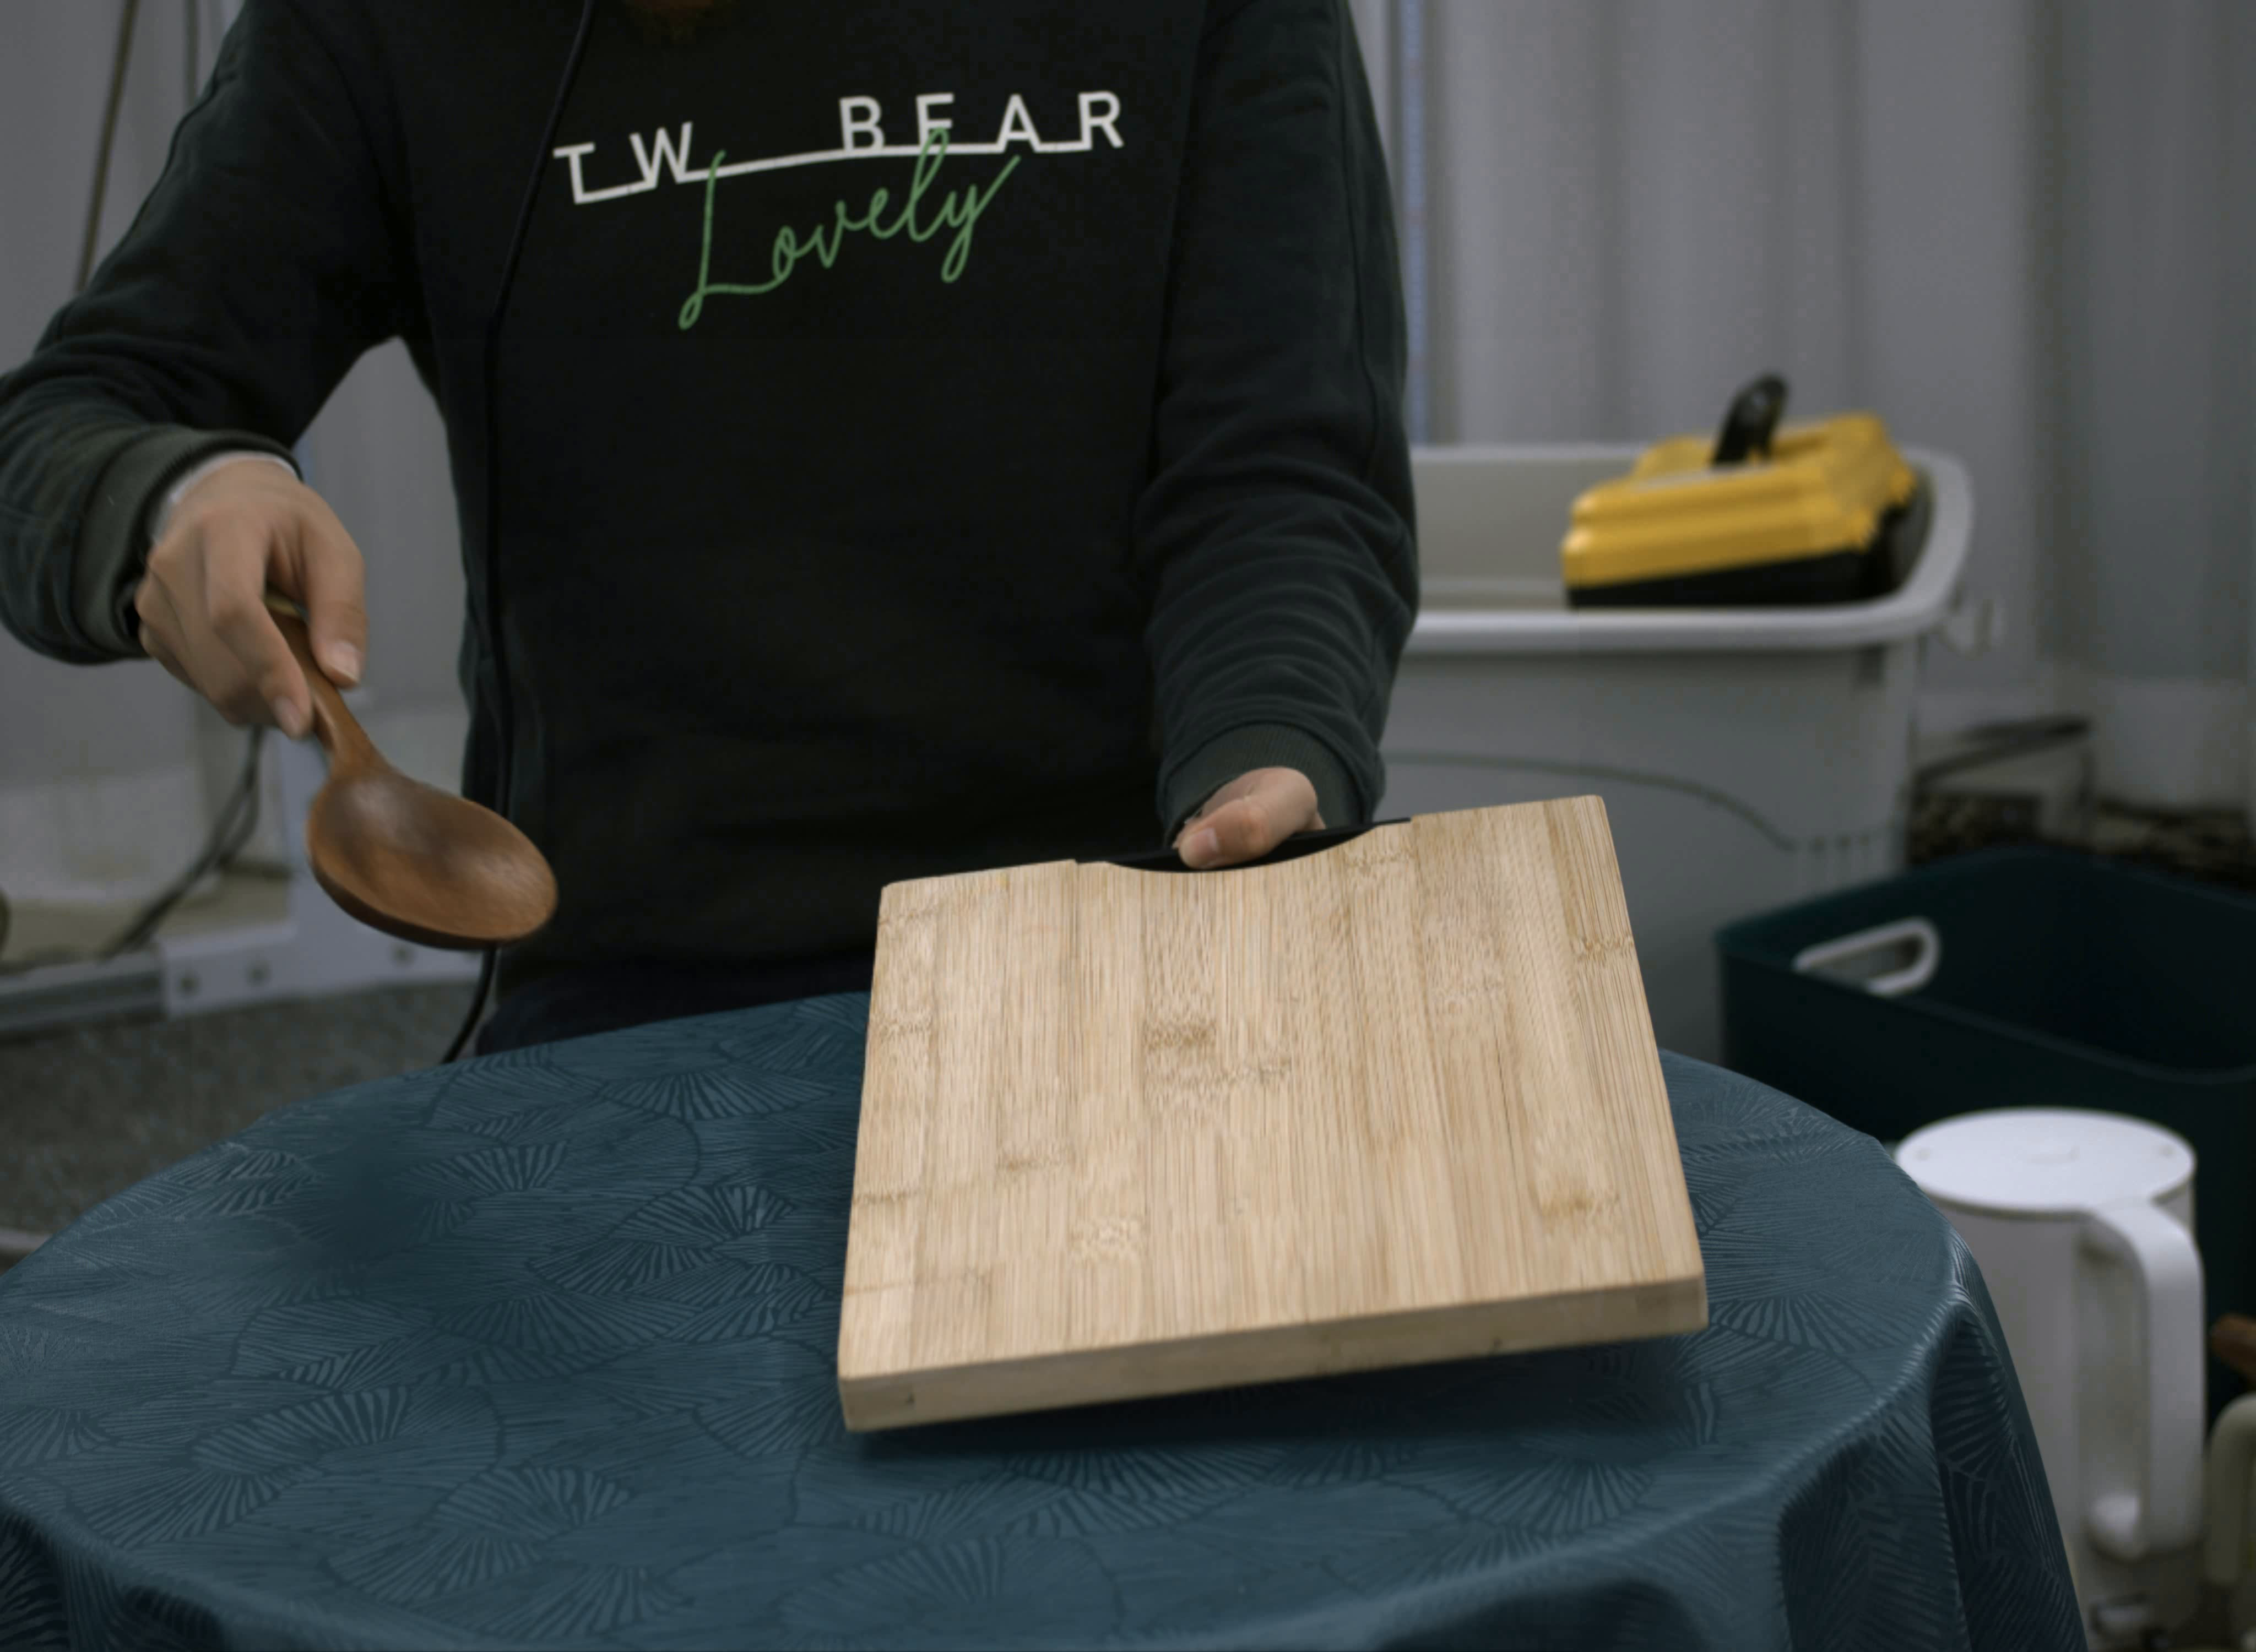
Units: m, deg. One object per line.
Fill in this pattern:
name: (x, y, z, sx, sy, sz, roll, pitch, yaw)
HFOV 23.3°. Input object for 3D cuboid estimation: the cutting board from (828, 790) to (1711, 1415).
cutting board: (0.039, 0.077, 1.651, 0.250, 0.023, 0.352, -7, 23, 2)

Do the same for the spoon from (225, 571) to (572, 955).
spoon: (-0.232, -0.018, 1.671, 0.075, 0.017, 0.219, -3, 33, -29)
